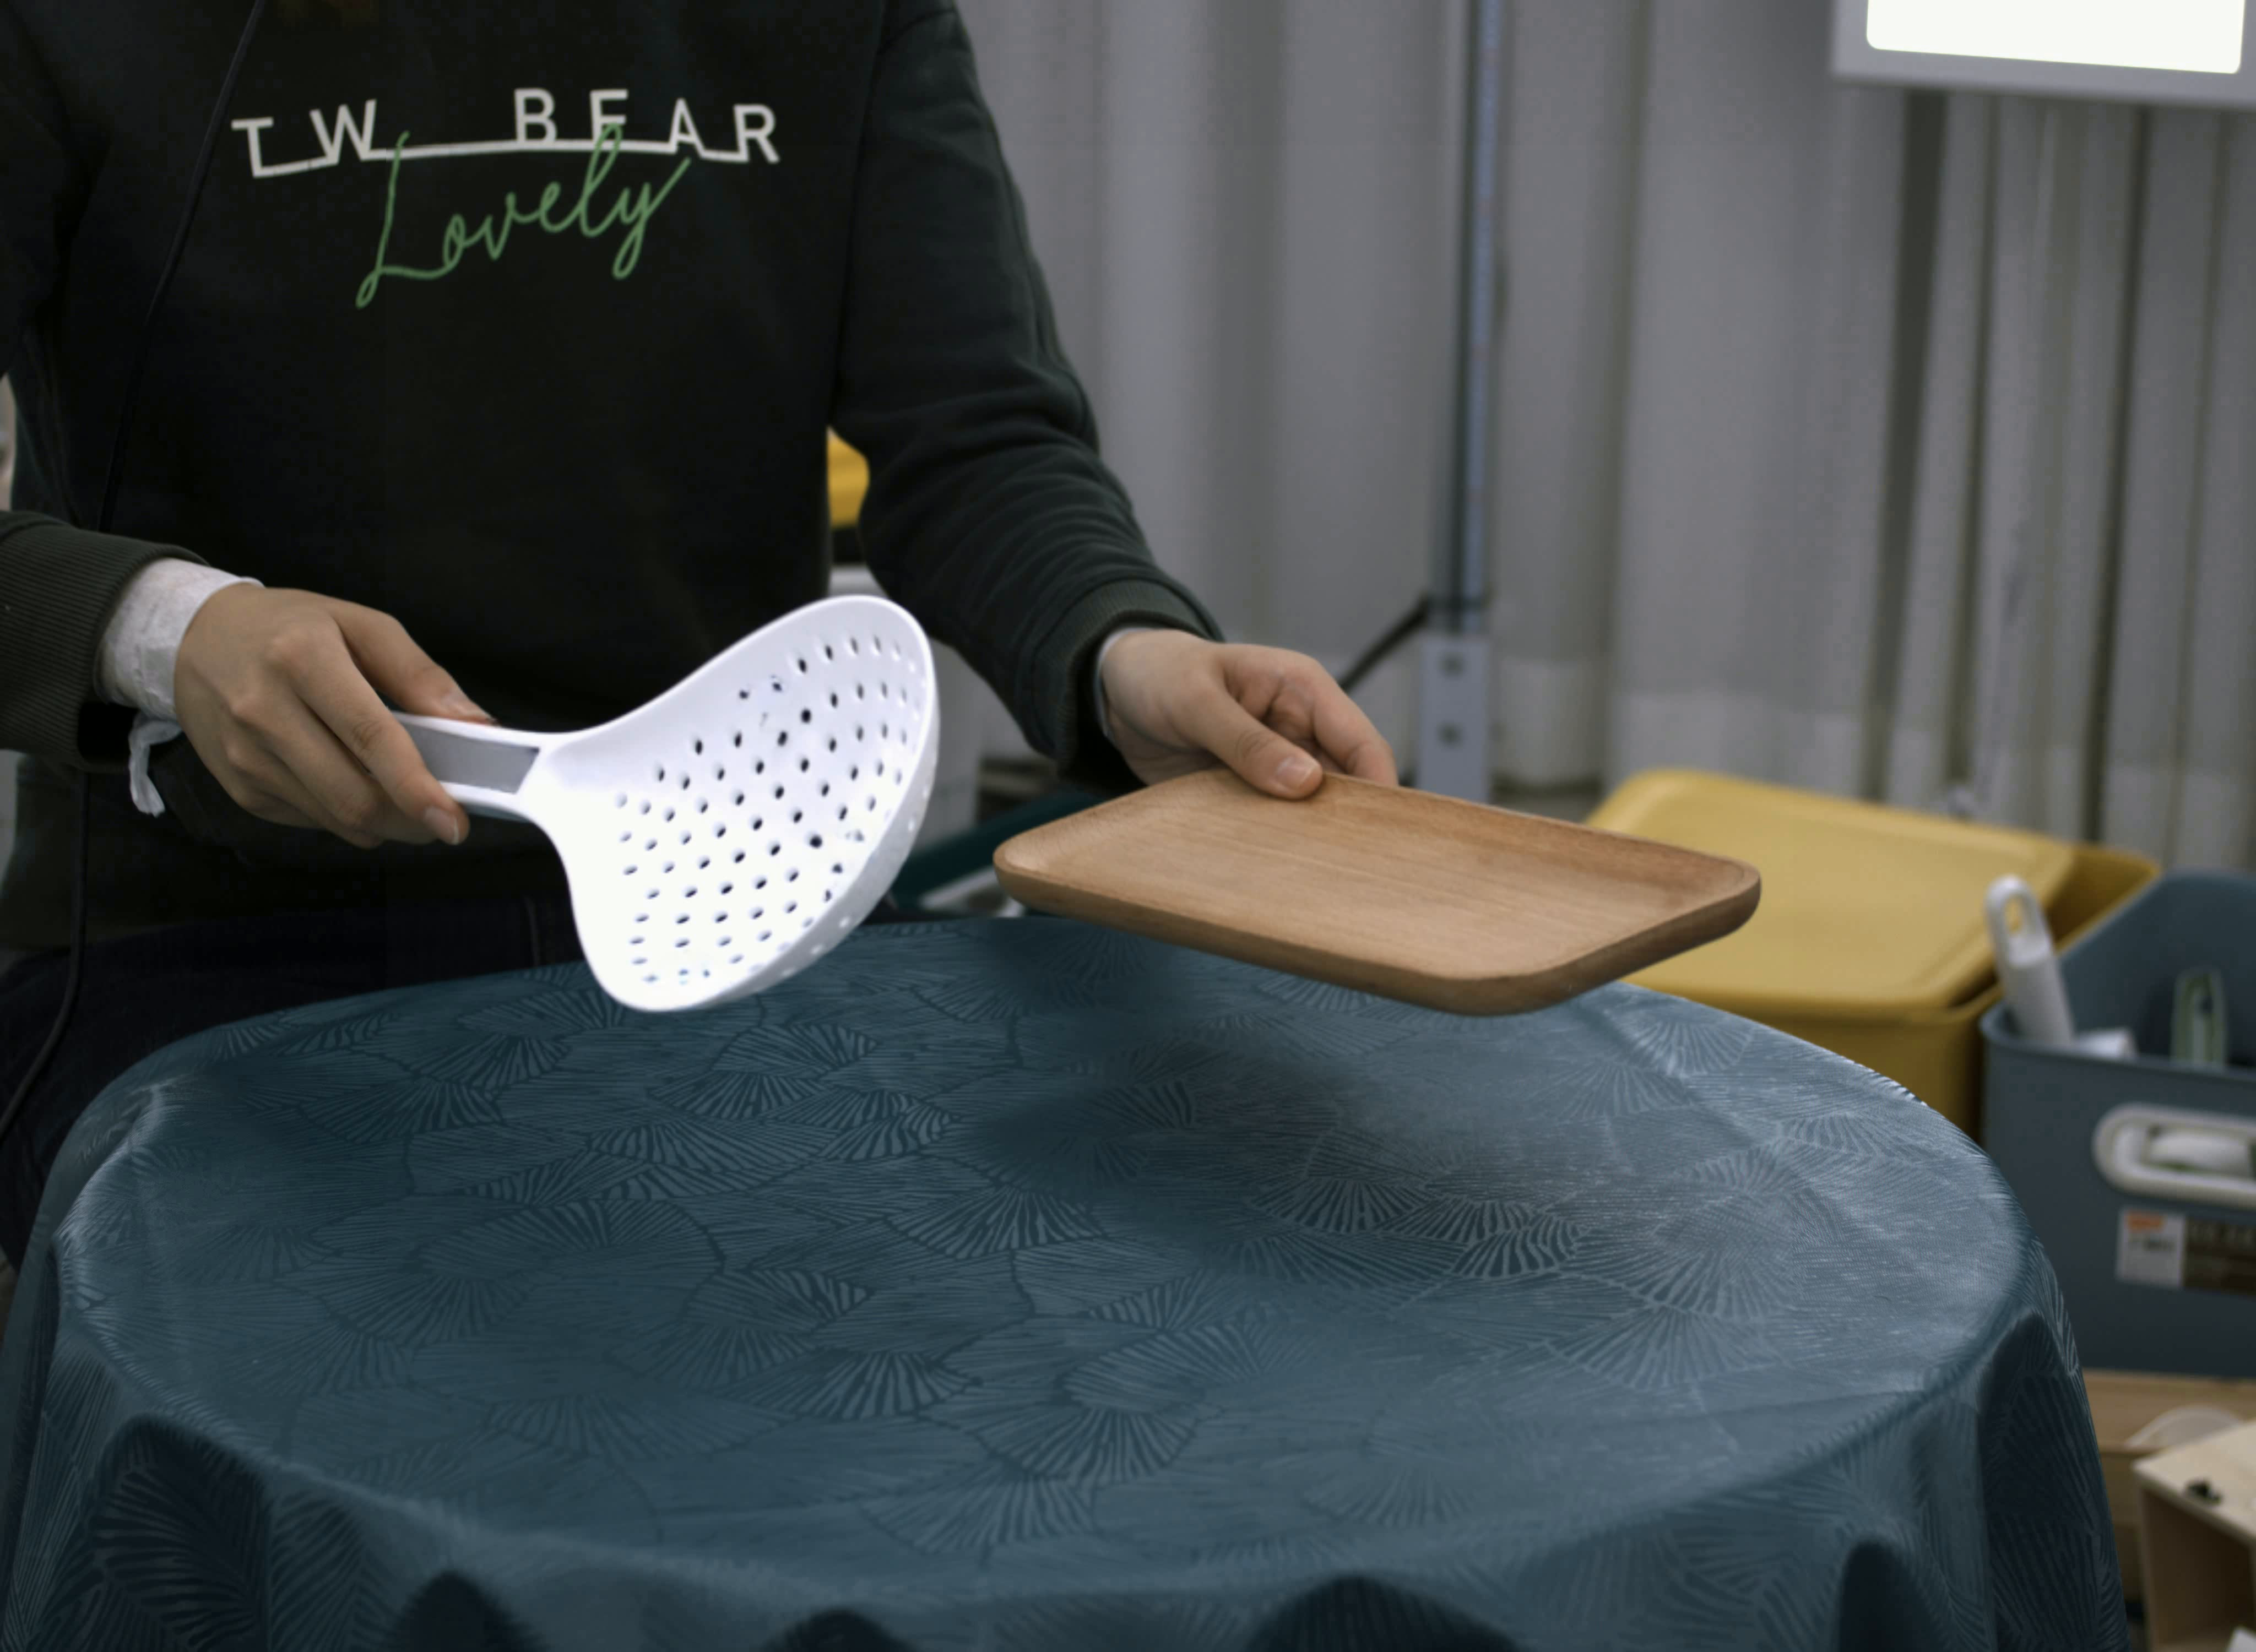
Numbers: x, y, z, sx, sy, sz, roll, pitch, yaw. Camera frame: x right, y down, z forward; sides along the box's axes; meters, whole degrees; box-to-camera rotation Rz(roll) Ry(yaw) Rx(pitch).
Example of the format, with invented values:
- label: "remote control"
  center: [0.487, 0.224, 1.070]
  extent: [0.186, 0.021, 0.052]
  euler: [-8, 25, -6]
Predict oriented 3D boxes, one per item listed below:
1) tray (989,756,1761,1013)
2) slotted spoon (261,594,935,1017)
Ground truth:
- label: "tray"
  center: [0.073, 0.016, 1.633]
  extent: [0.131, 0.023, 0.247]
  euler: [-17, 19, -38]
- label: "slotted spoon"
  center: [-0.166, -0.014, 1.562]
  extent: [0.345, 0.136, 0.046]
  euler: [12, -19, 47]
